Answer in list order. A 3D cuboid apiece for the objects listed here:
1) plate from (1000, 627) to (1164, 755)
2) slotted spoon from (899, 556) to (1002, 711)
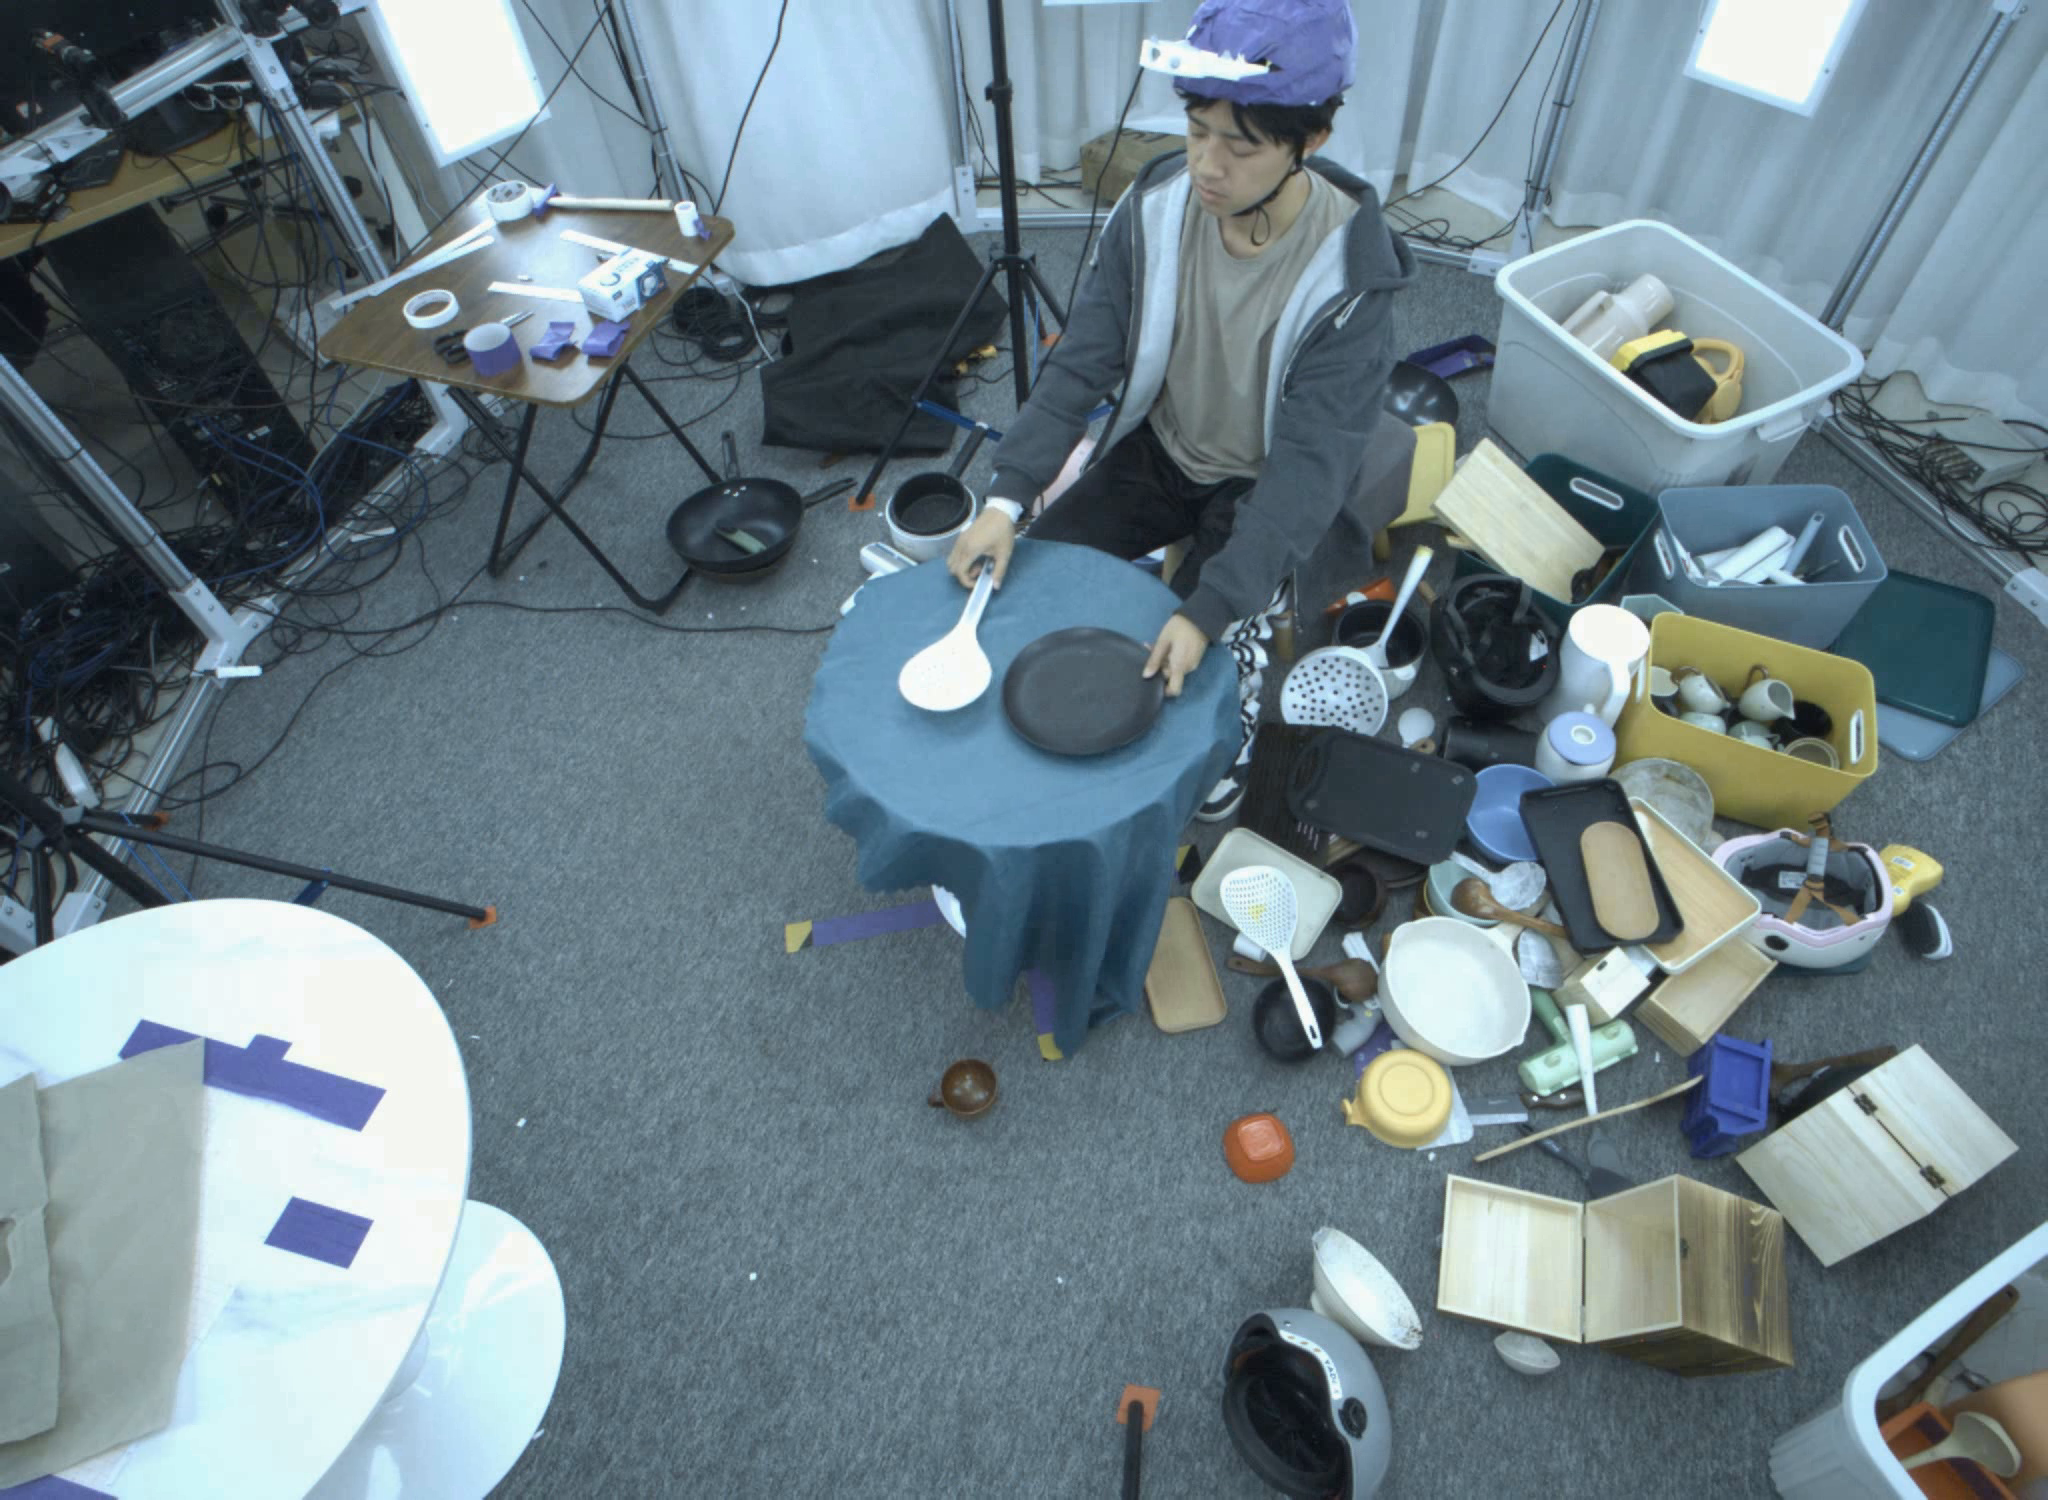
[{"bbox_3d":[0.086,-0.087,1.831,0.244,0.024,0.242,-1,55,3],"label":"plate"},{"bbox_3d":[-0.093,-0.184,1.896,0.135,0.046,0.348,9,55,11],"label":"slotted spoon"}]
